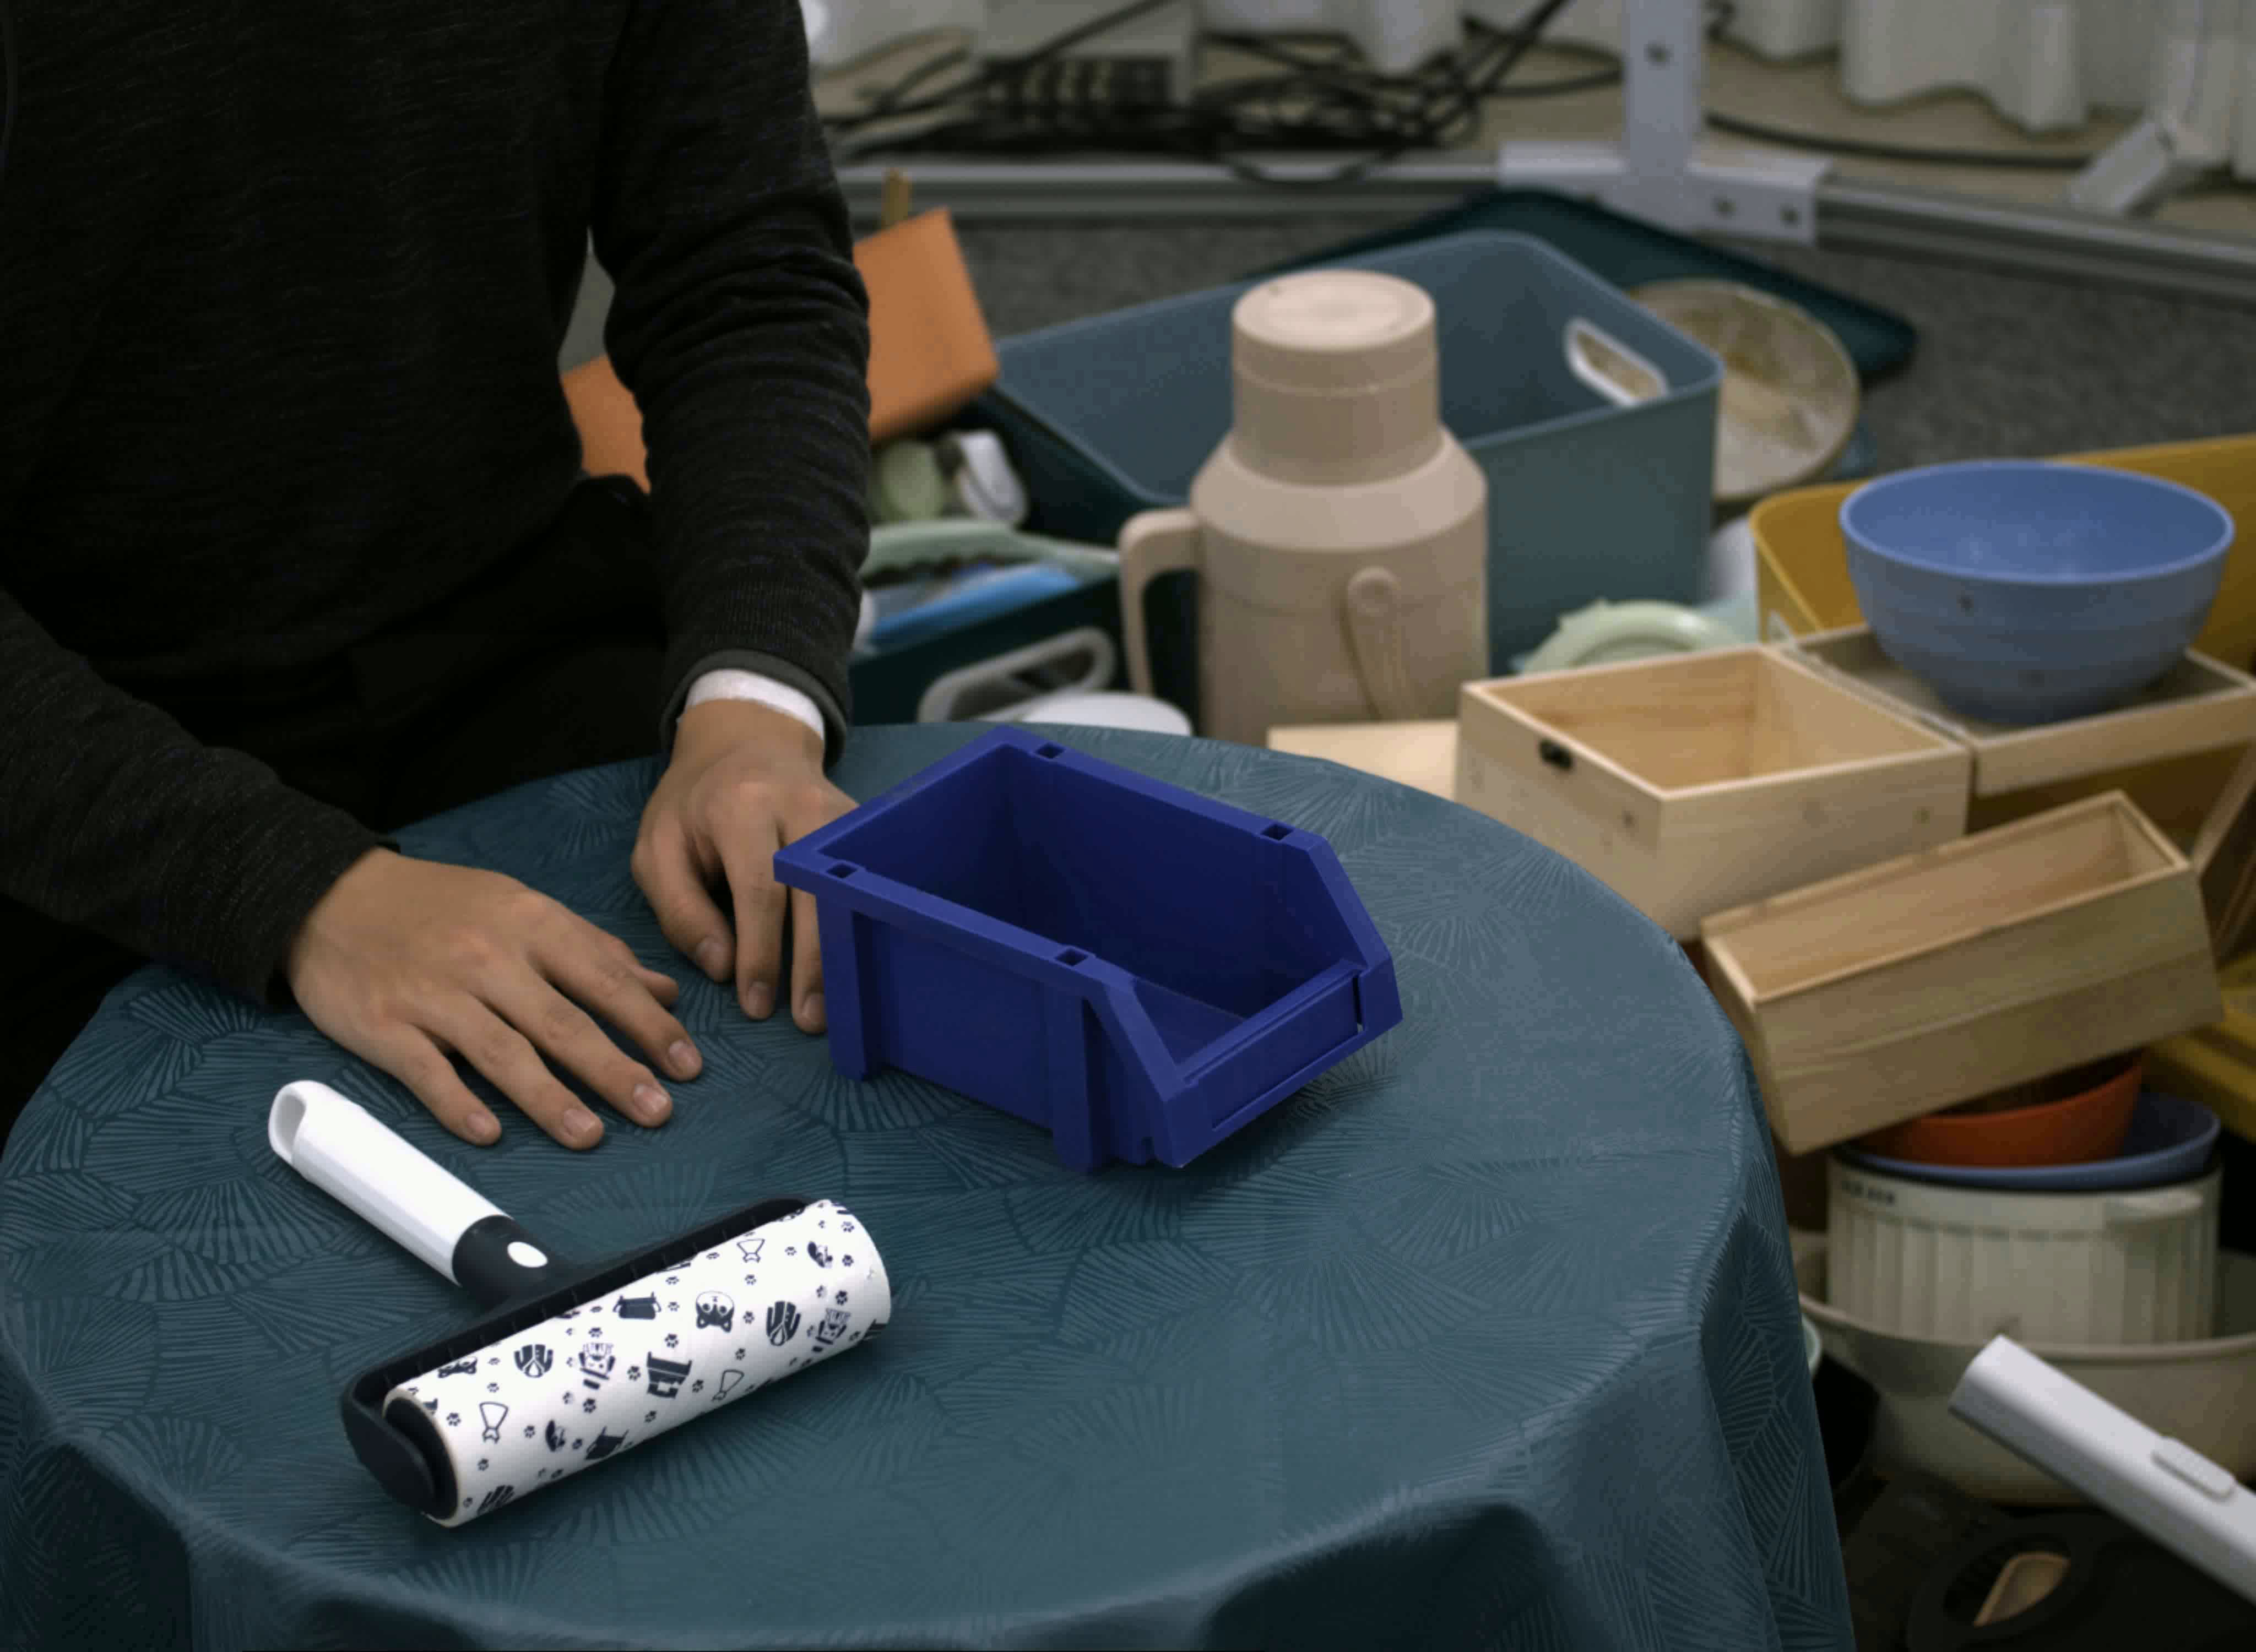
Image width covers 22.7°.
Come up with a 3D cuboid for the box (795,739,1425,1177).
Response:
[{"bbox_3d":[-0.005,0.047,1.918,0.179,0.081,0.126,17,33,39],"label":"box"}]

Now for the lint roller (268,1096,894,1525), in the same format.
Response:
[{"bbox_3d":[-0.213,0.134,1.813,0.178,0.050,0.247,-23,32,-32],"label":"lint roller"}]
